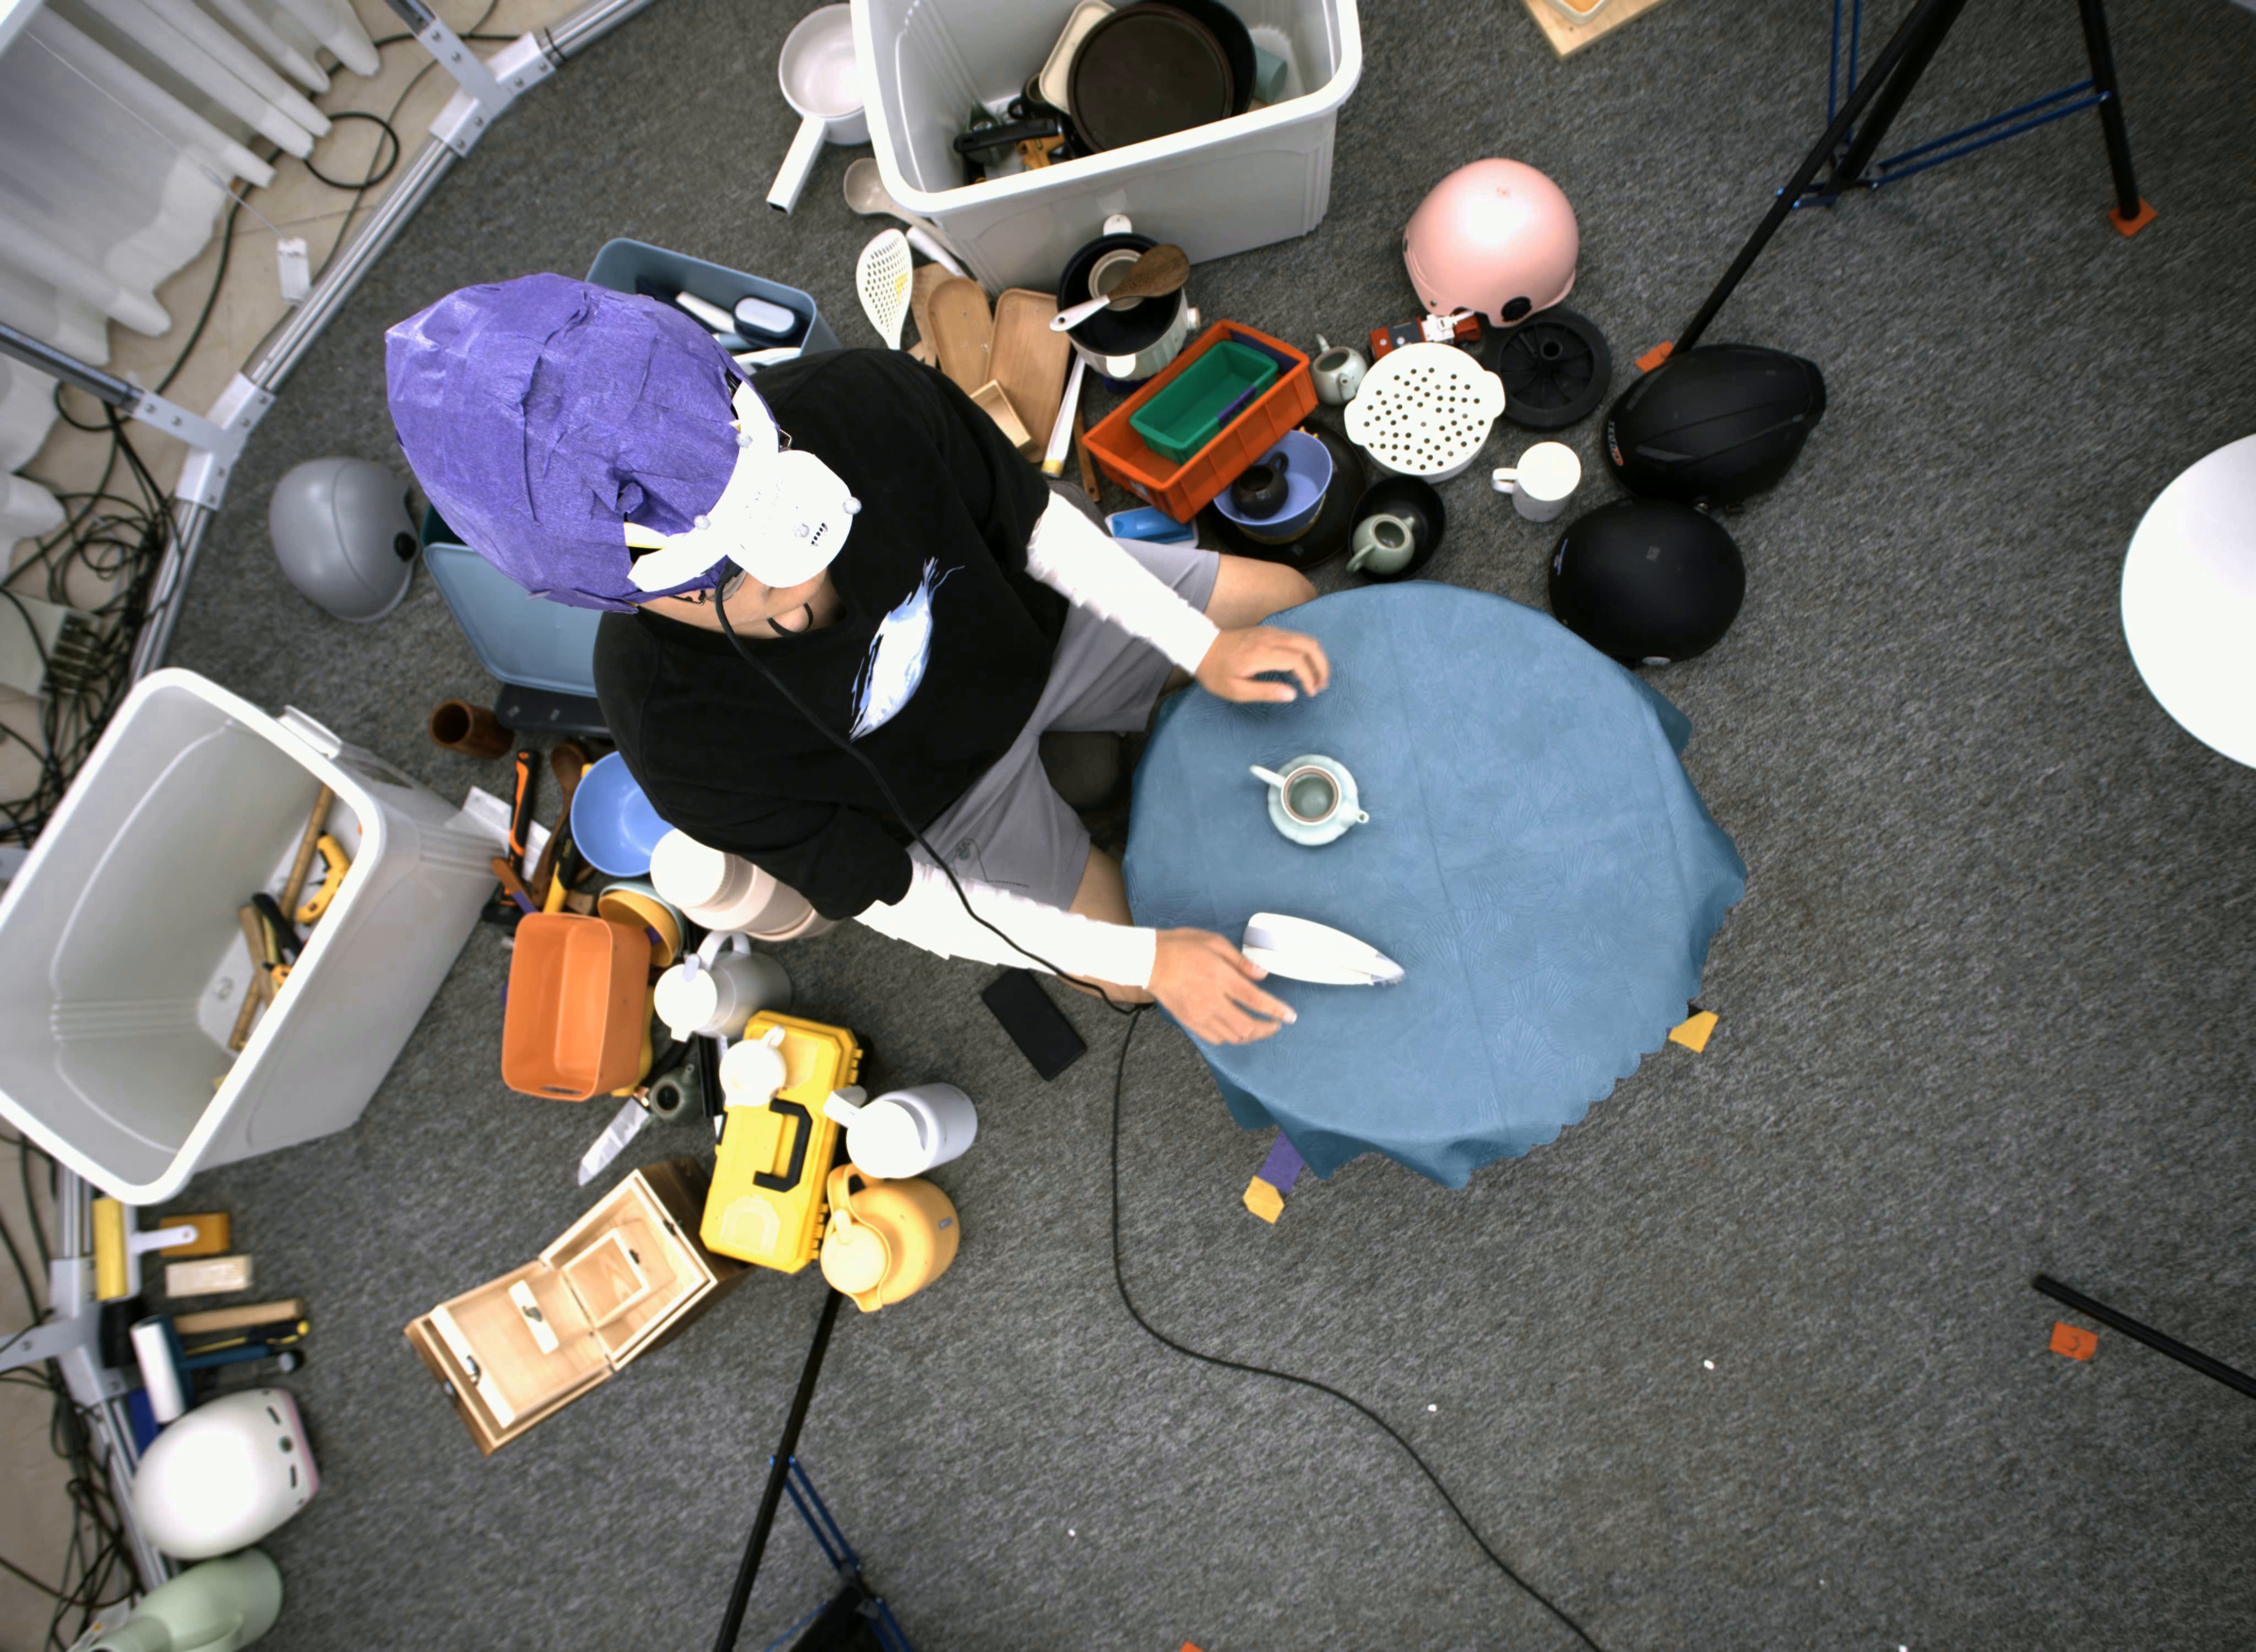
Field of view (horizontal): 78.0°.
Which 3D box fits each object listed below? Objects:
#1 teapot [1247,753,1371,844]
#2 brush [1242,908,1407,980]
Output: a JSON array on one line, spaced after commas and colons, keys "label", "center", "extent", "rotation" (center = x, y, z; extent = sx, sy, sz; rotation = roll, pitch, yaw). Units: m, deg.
[{"label": "teapot", "center": [0.190, -0.033, 1.449], "extent": [0.137, 0.061, 0.096], "rotation": [23, 93, 11]}, {"label": "brush", "center": [0.201, 0.128, 1.423], "extent": [0.176, 0.094, 0.061], "rotation": [14, 91, 10]}]
